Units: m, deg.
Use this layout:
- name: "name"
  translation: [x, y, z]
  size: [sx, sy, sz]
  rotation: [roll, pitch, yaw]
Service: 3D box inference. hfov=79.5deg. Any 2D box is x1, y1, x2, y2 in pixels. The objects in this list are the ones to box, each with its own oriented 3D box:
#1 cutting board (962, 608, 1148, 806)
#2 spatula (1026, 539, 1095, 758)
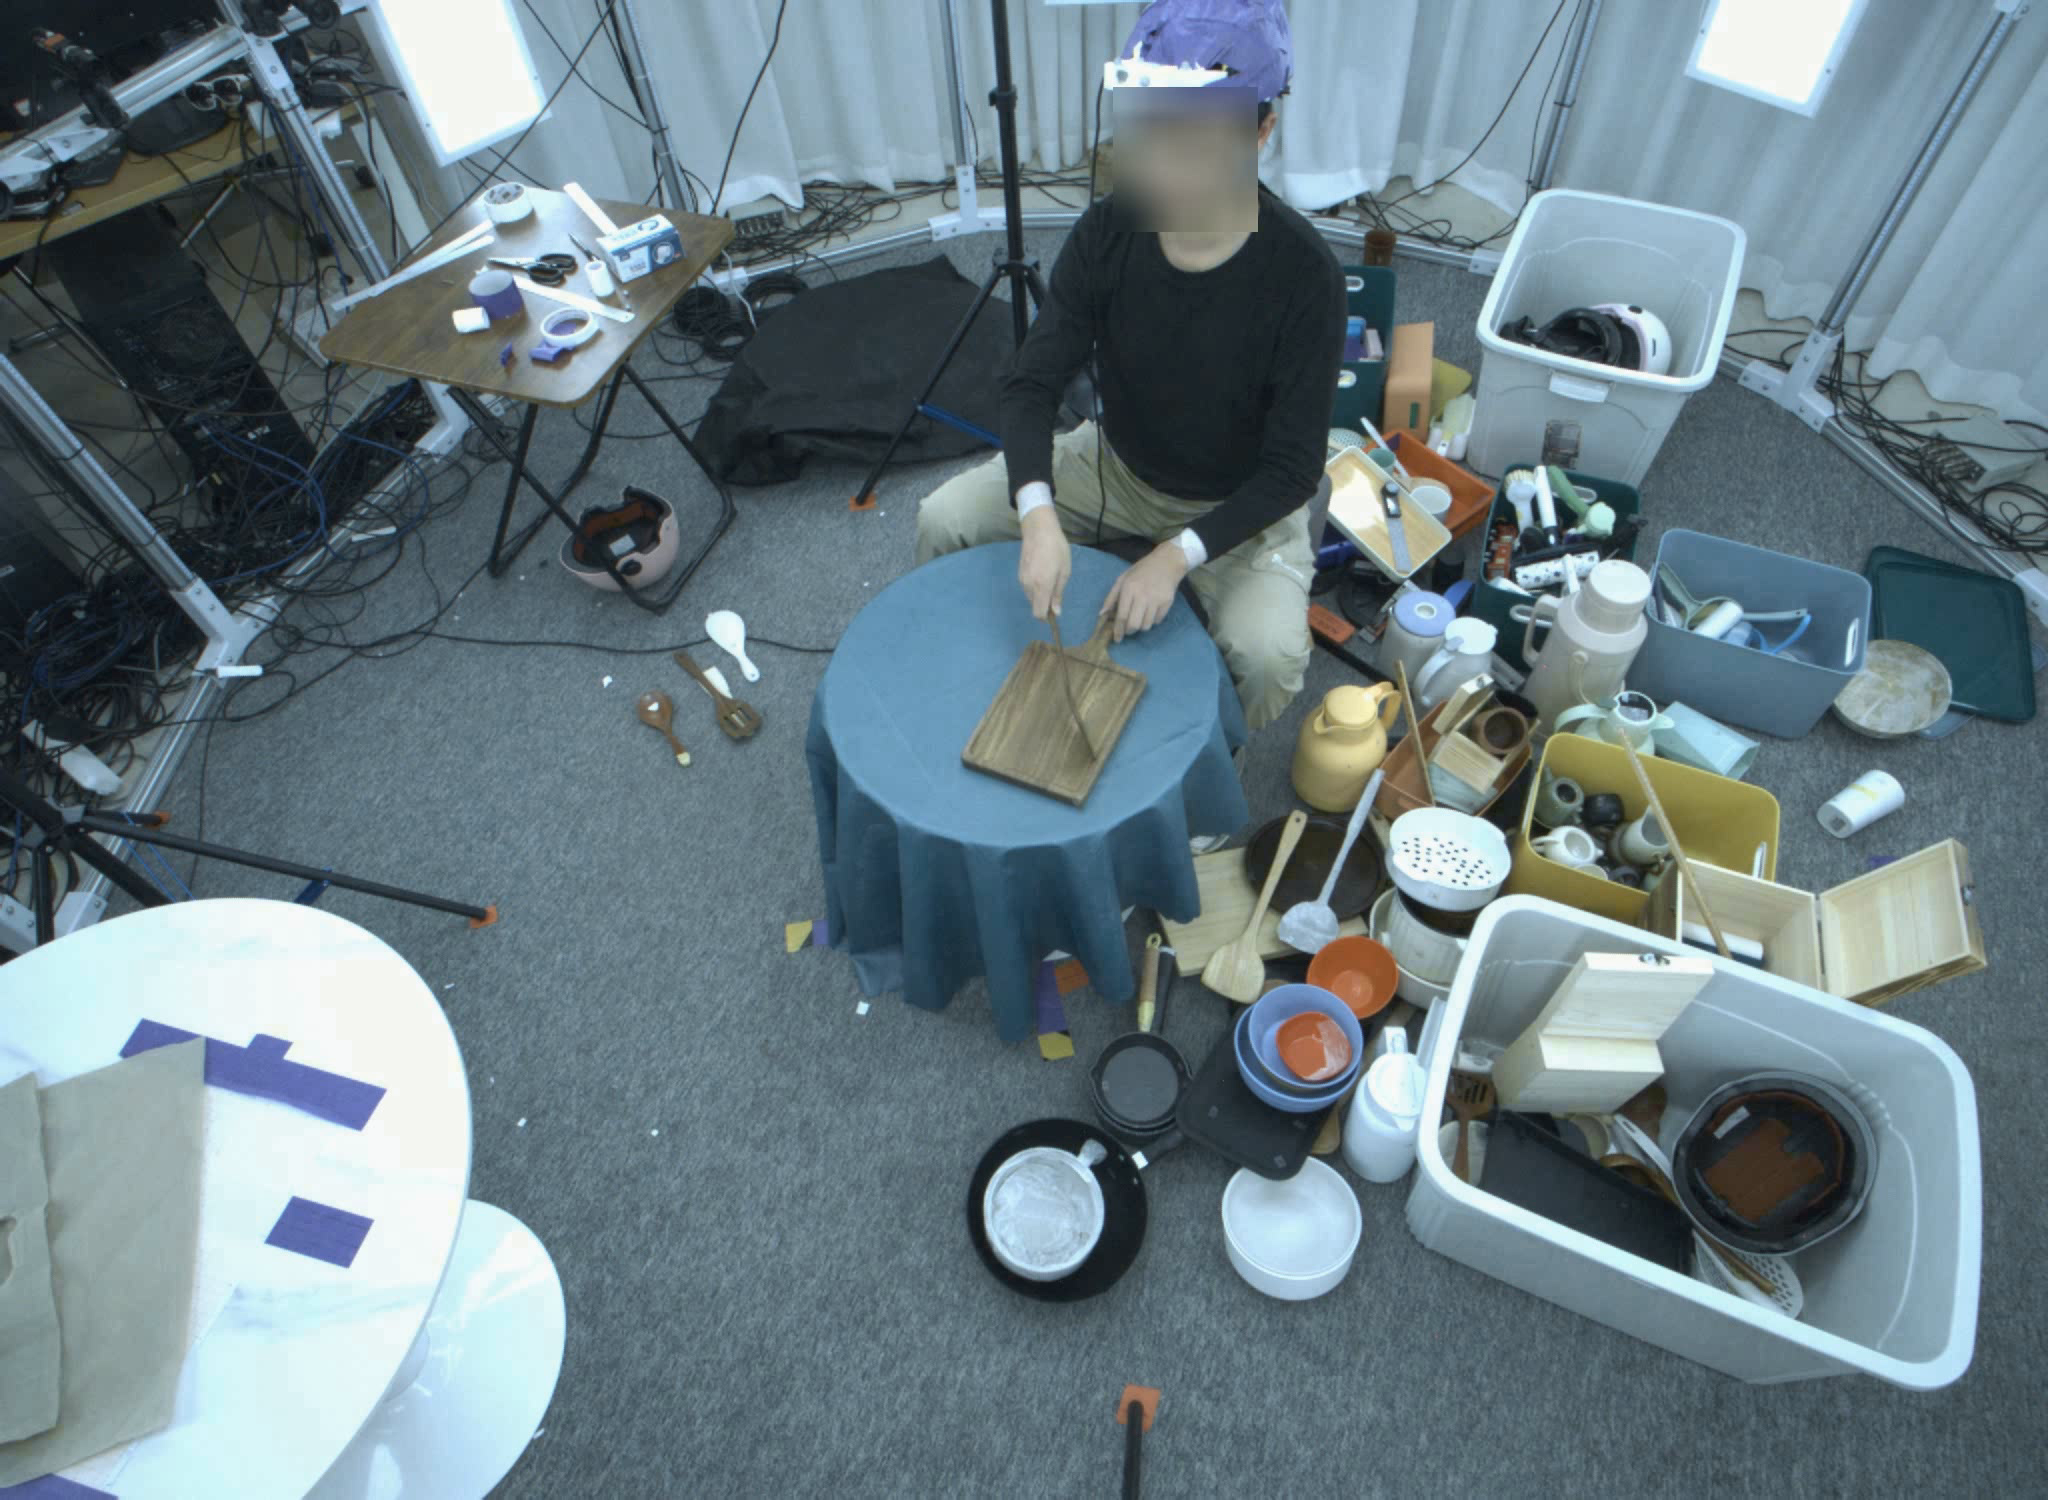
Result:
- name: "cutting board"
  translation: [0.068, -0.083, 1.831]
  size: [0.199, 0.023, 0.352]
  rotation: [20, 58, 15]
- name: "spatula"
  translation: [0.049, -0.161, 1.799]
  size: [0.016, 0.097, 0.381]
  rotation: [-16, 62, 5]
